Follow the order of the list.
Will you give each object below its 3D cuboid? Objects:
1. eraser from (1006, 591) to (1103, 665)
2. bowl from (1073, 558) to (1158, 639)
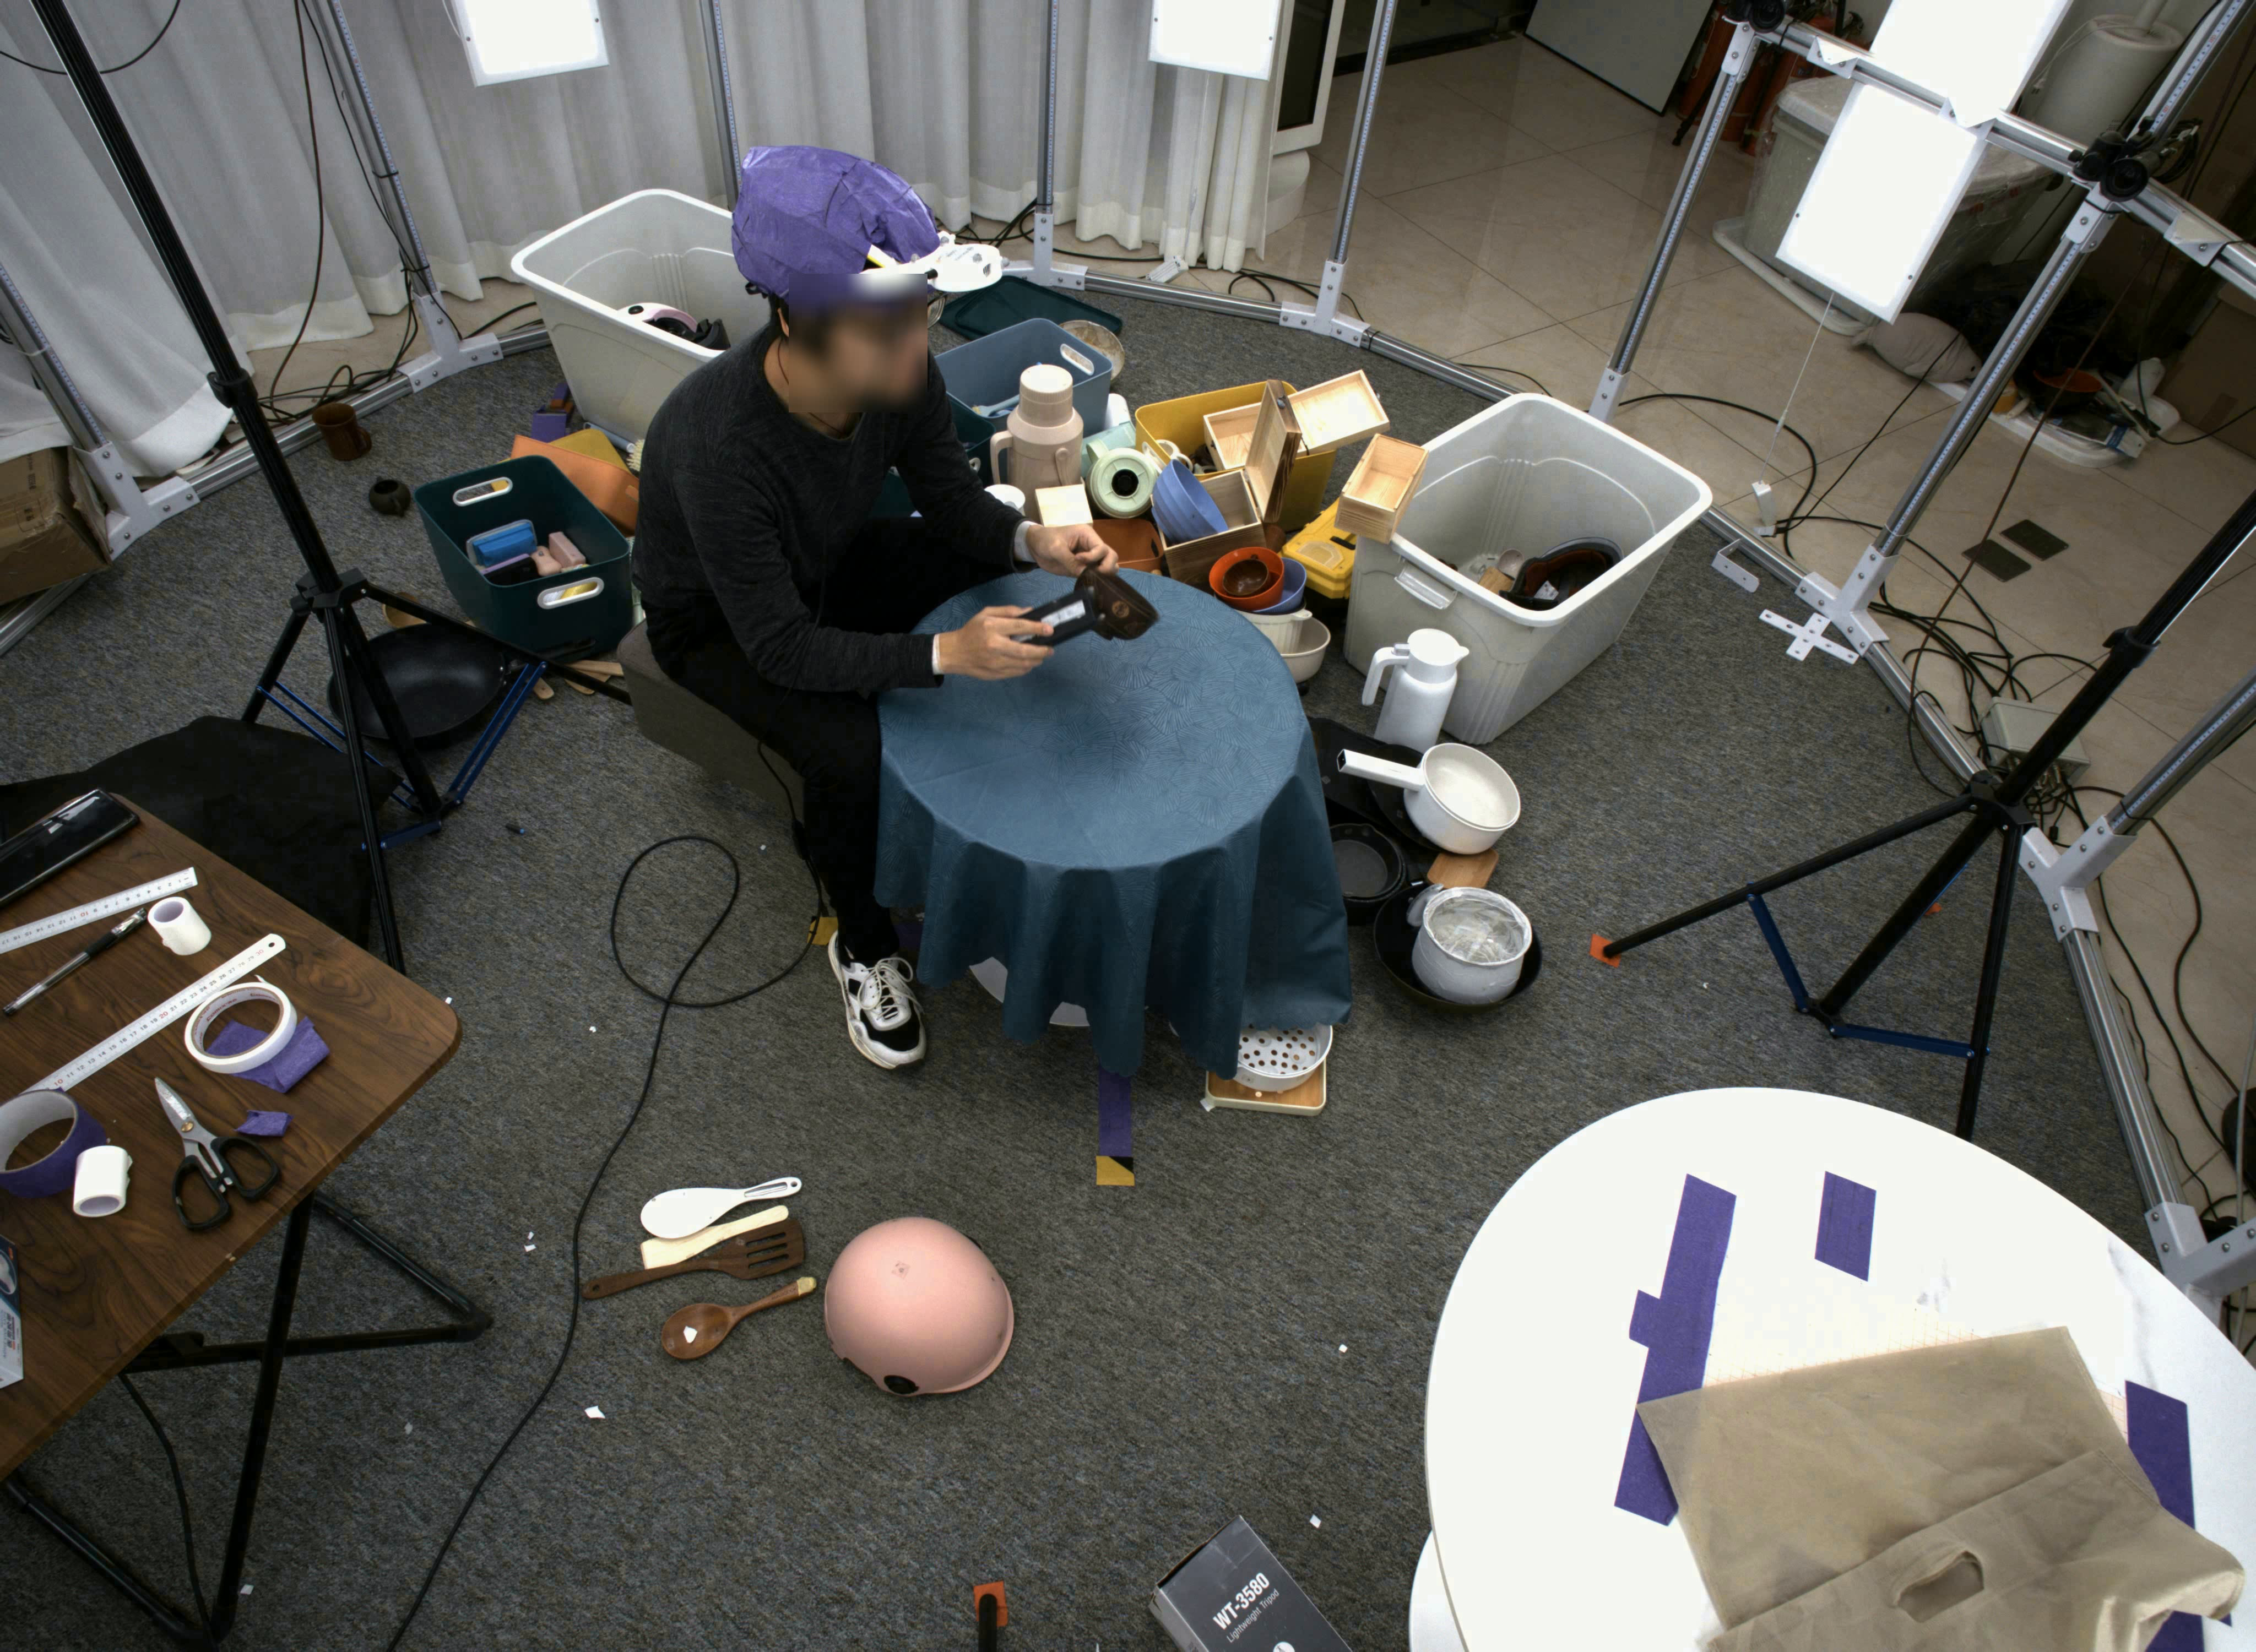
[{"bbox_3d":[-0.096,-0.259,1.680,0.125,0.030,0.054,-21,77,18],"label":"eraser"},{"bbox_3d":[-0.025,-0.297,1.730,0.117,0.069,0.120,35,18,-13],"label":"bowl"}]
